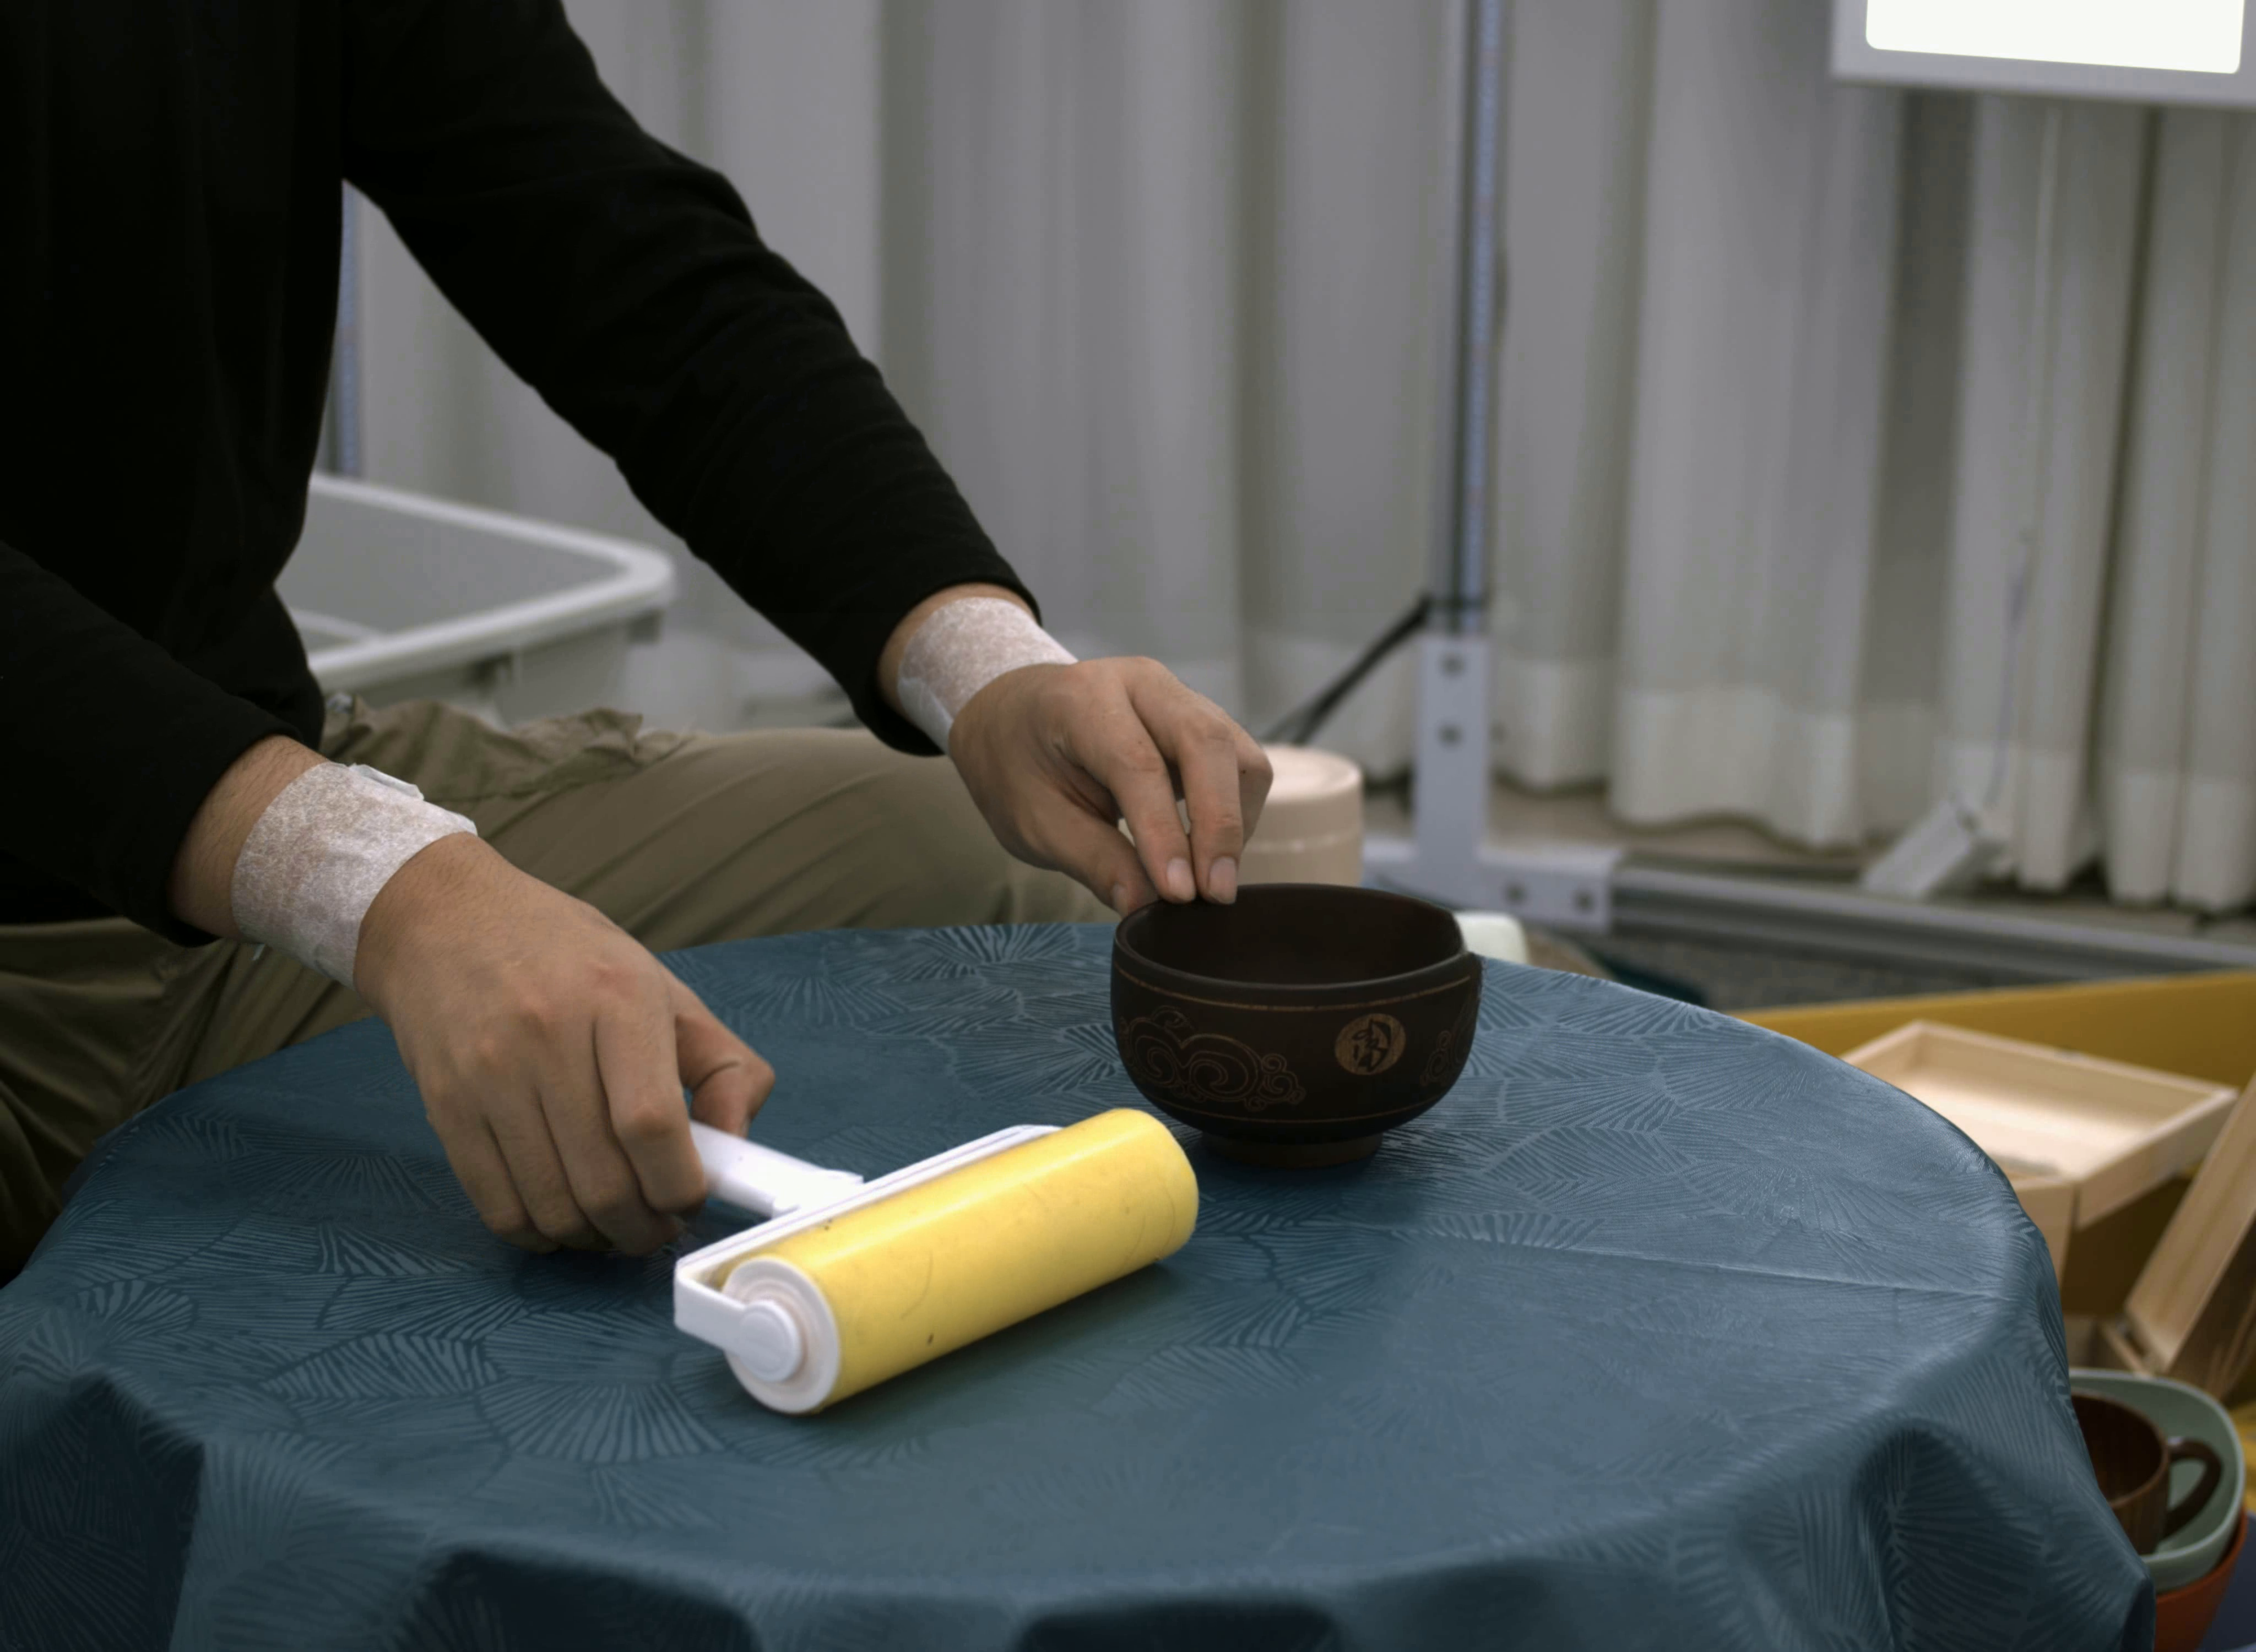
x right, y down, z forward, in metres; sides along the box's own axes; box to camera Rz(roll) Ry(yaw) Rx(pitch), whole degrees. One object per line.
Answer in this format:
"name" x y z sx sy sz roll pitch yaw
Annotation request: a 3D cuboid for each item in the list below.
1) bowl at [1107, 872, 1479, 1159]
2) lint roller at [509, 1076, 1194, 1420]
"bowl" 0.051 0.063 1.658 0.117 0.070 0.117 2 16 0
"lint roller" -0.103 0.098 1.529 0.189 0.052 0.175 27 27 28
